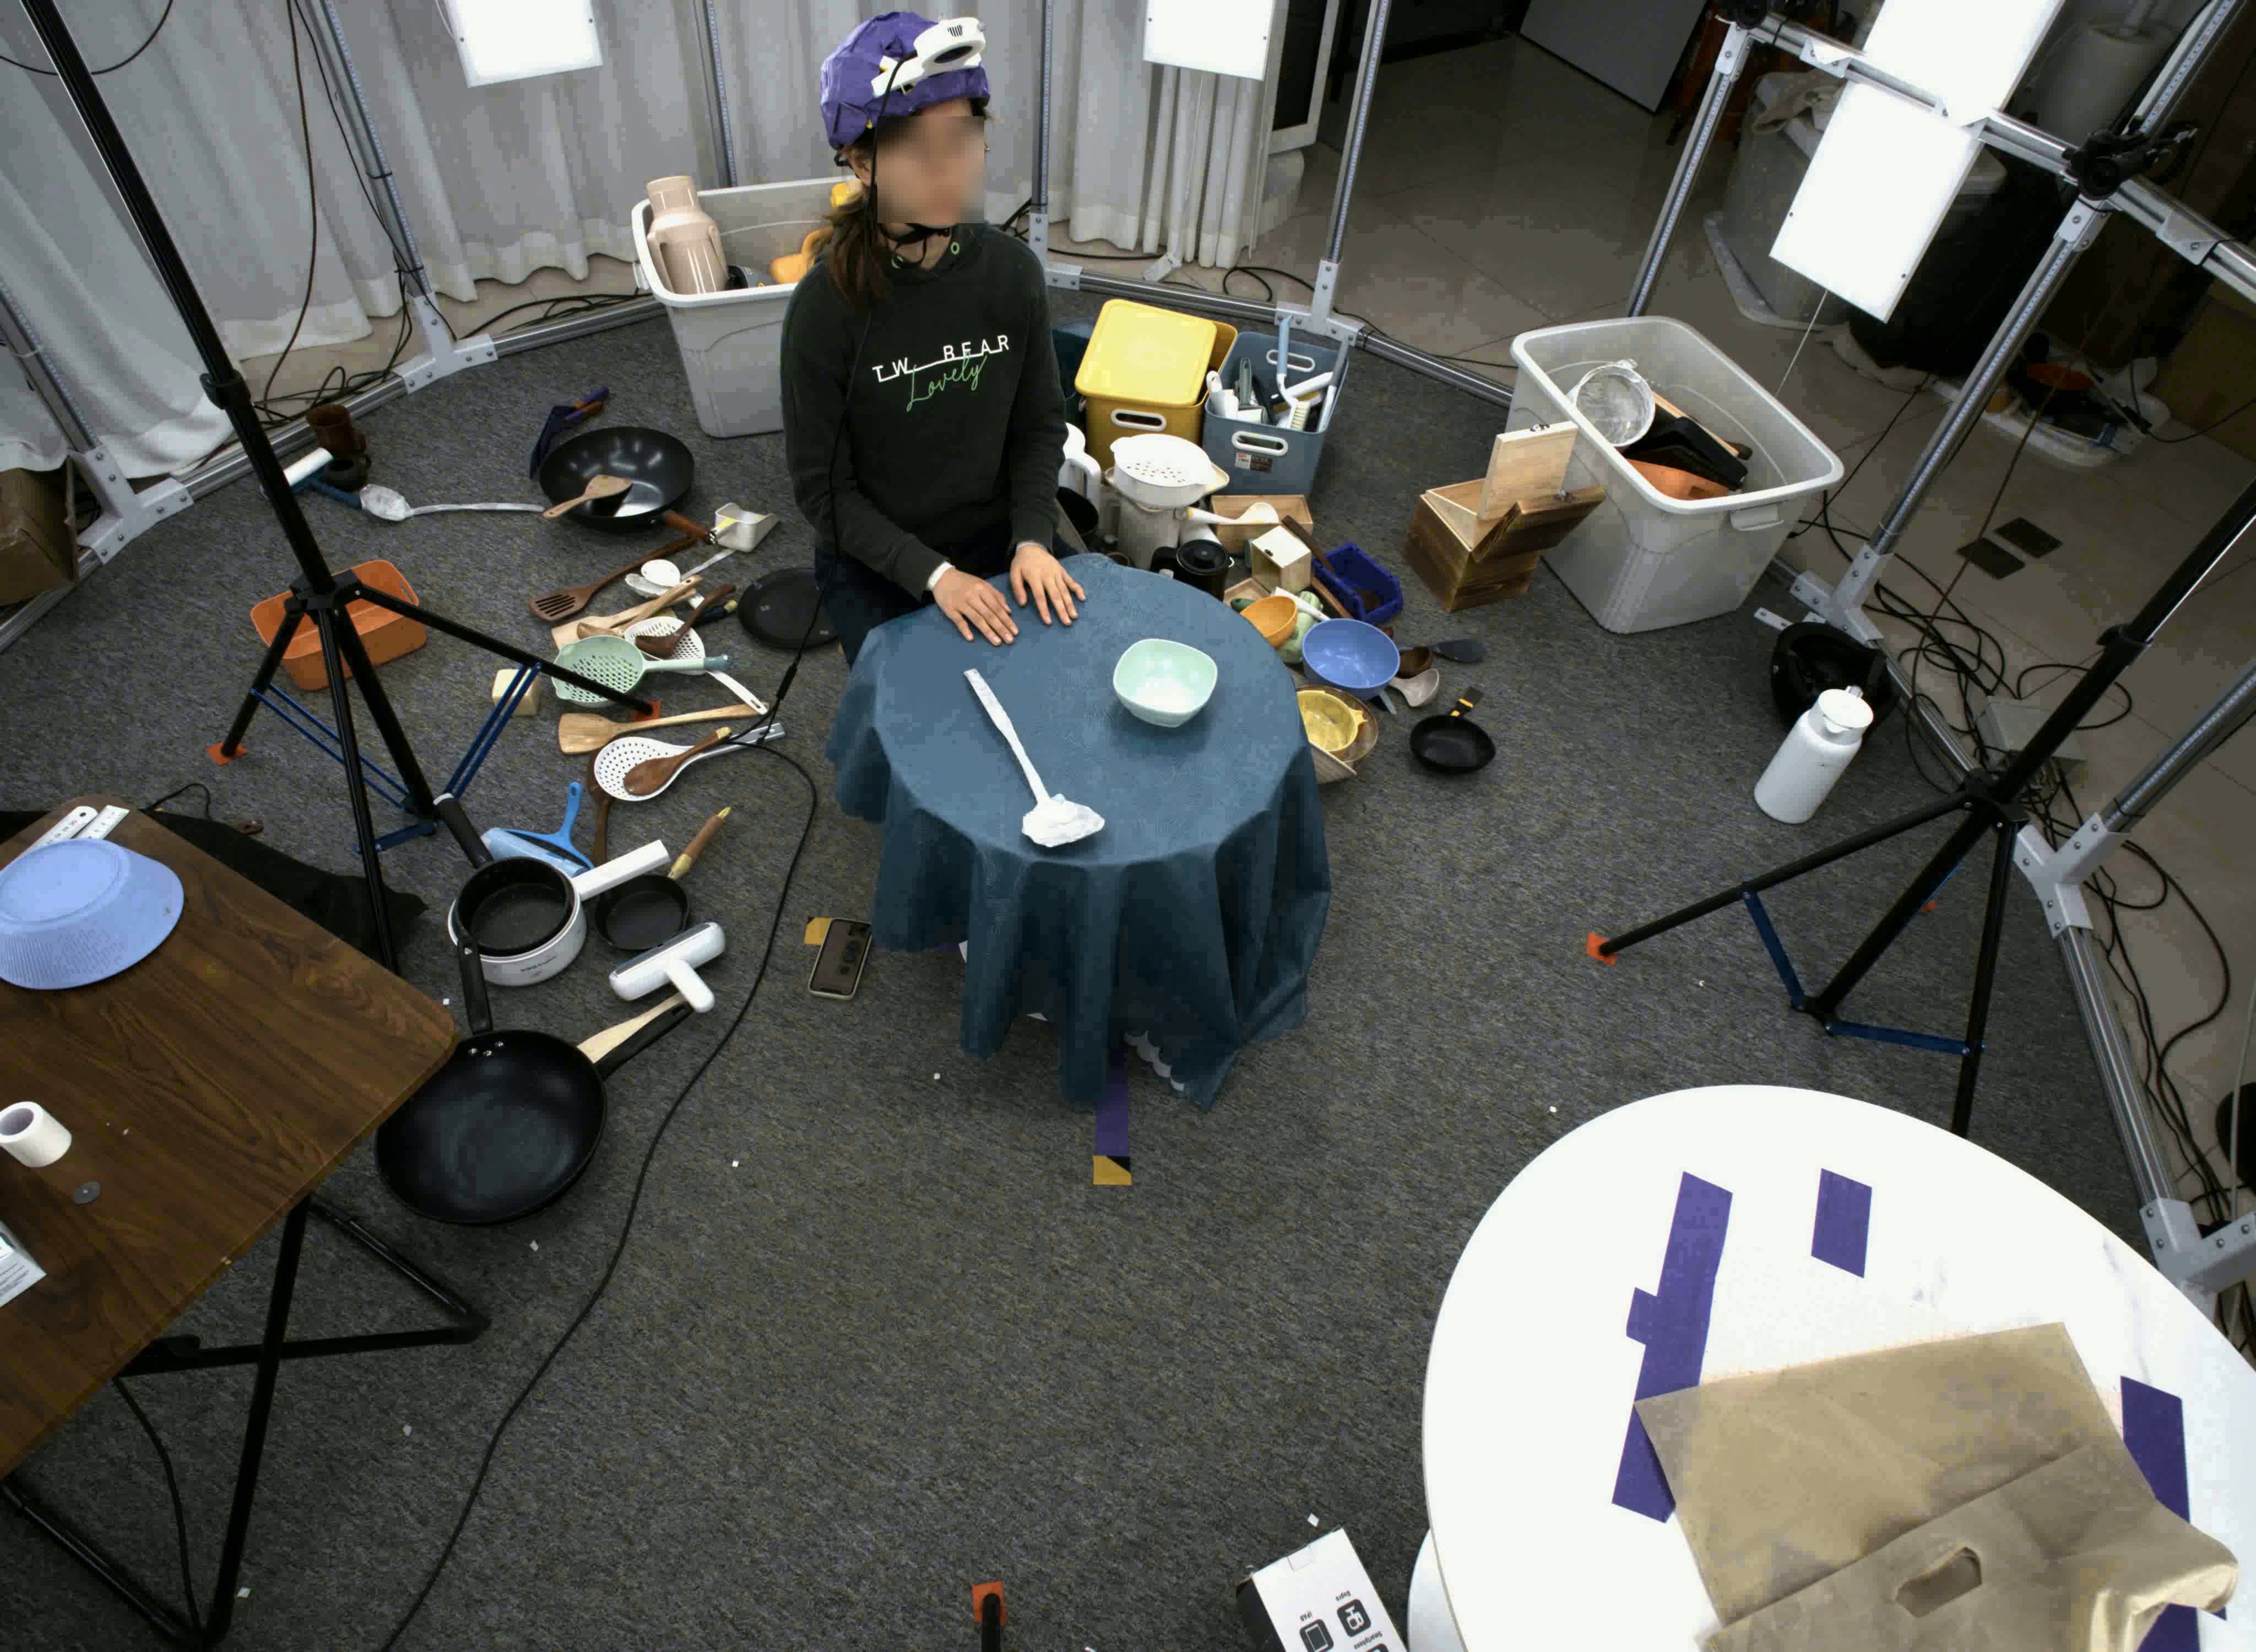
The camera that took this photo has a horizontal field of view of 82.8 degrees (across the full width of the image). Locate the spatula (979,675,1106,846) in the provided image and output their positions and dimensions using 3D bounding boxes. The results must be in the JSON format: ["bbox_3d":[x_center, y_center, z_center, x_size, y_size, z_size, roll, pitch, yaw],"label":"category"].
[{"bbox_3d":[-0.139,-0.099,1.736,0.099,0.043,0.373,-18,52,-16],"label":"spatula"}]

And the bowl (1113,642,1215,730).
[{"bbox_3d":[0.049,-0.190,1.820,0.151,0.057,0.155,3,49,-4],"label":"bowl"}]
